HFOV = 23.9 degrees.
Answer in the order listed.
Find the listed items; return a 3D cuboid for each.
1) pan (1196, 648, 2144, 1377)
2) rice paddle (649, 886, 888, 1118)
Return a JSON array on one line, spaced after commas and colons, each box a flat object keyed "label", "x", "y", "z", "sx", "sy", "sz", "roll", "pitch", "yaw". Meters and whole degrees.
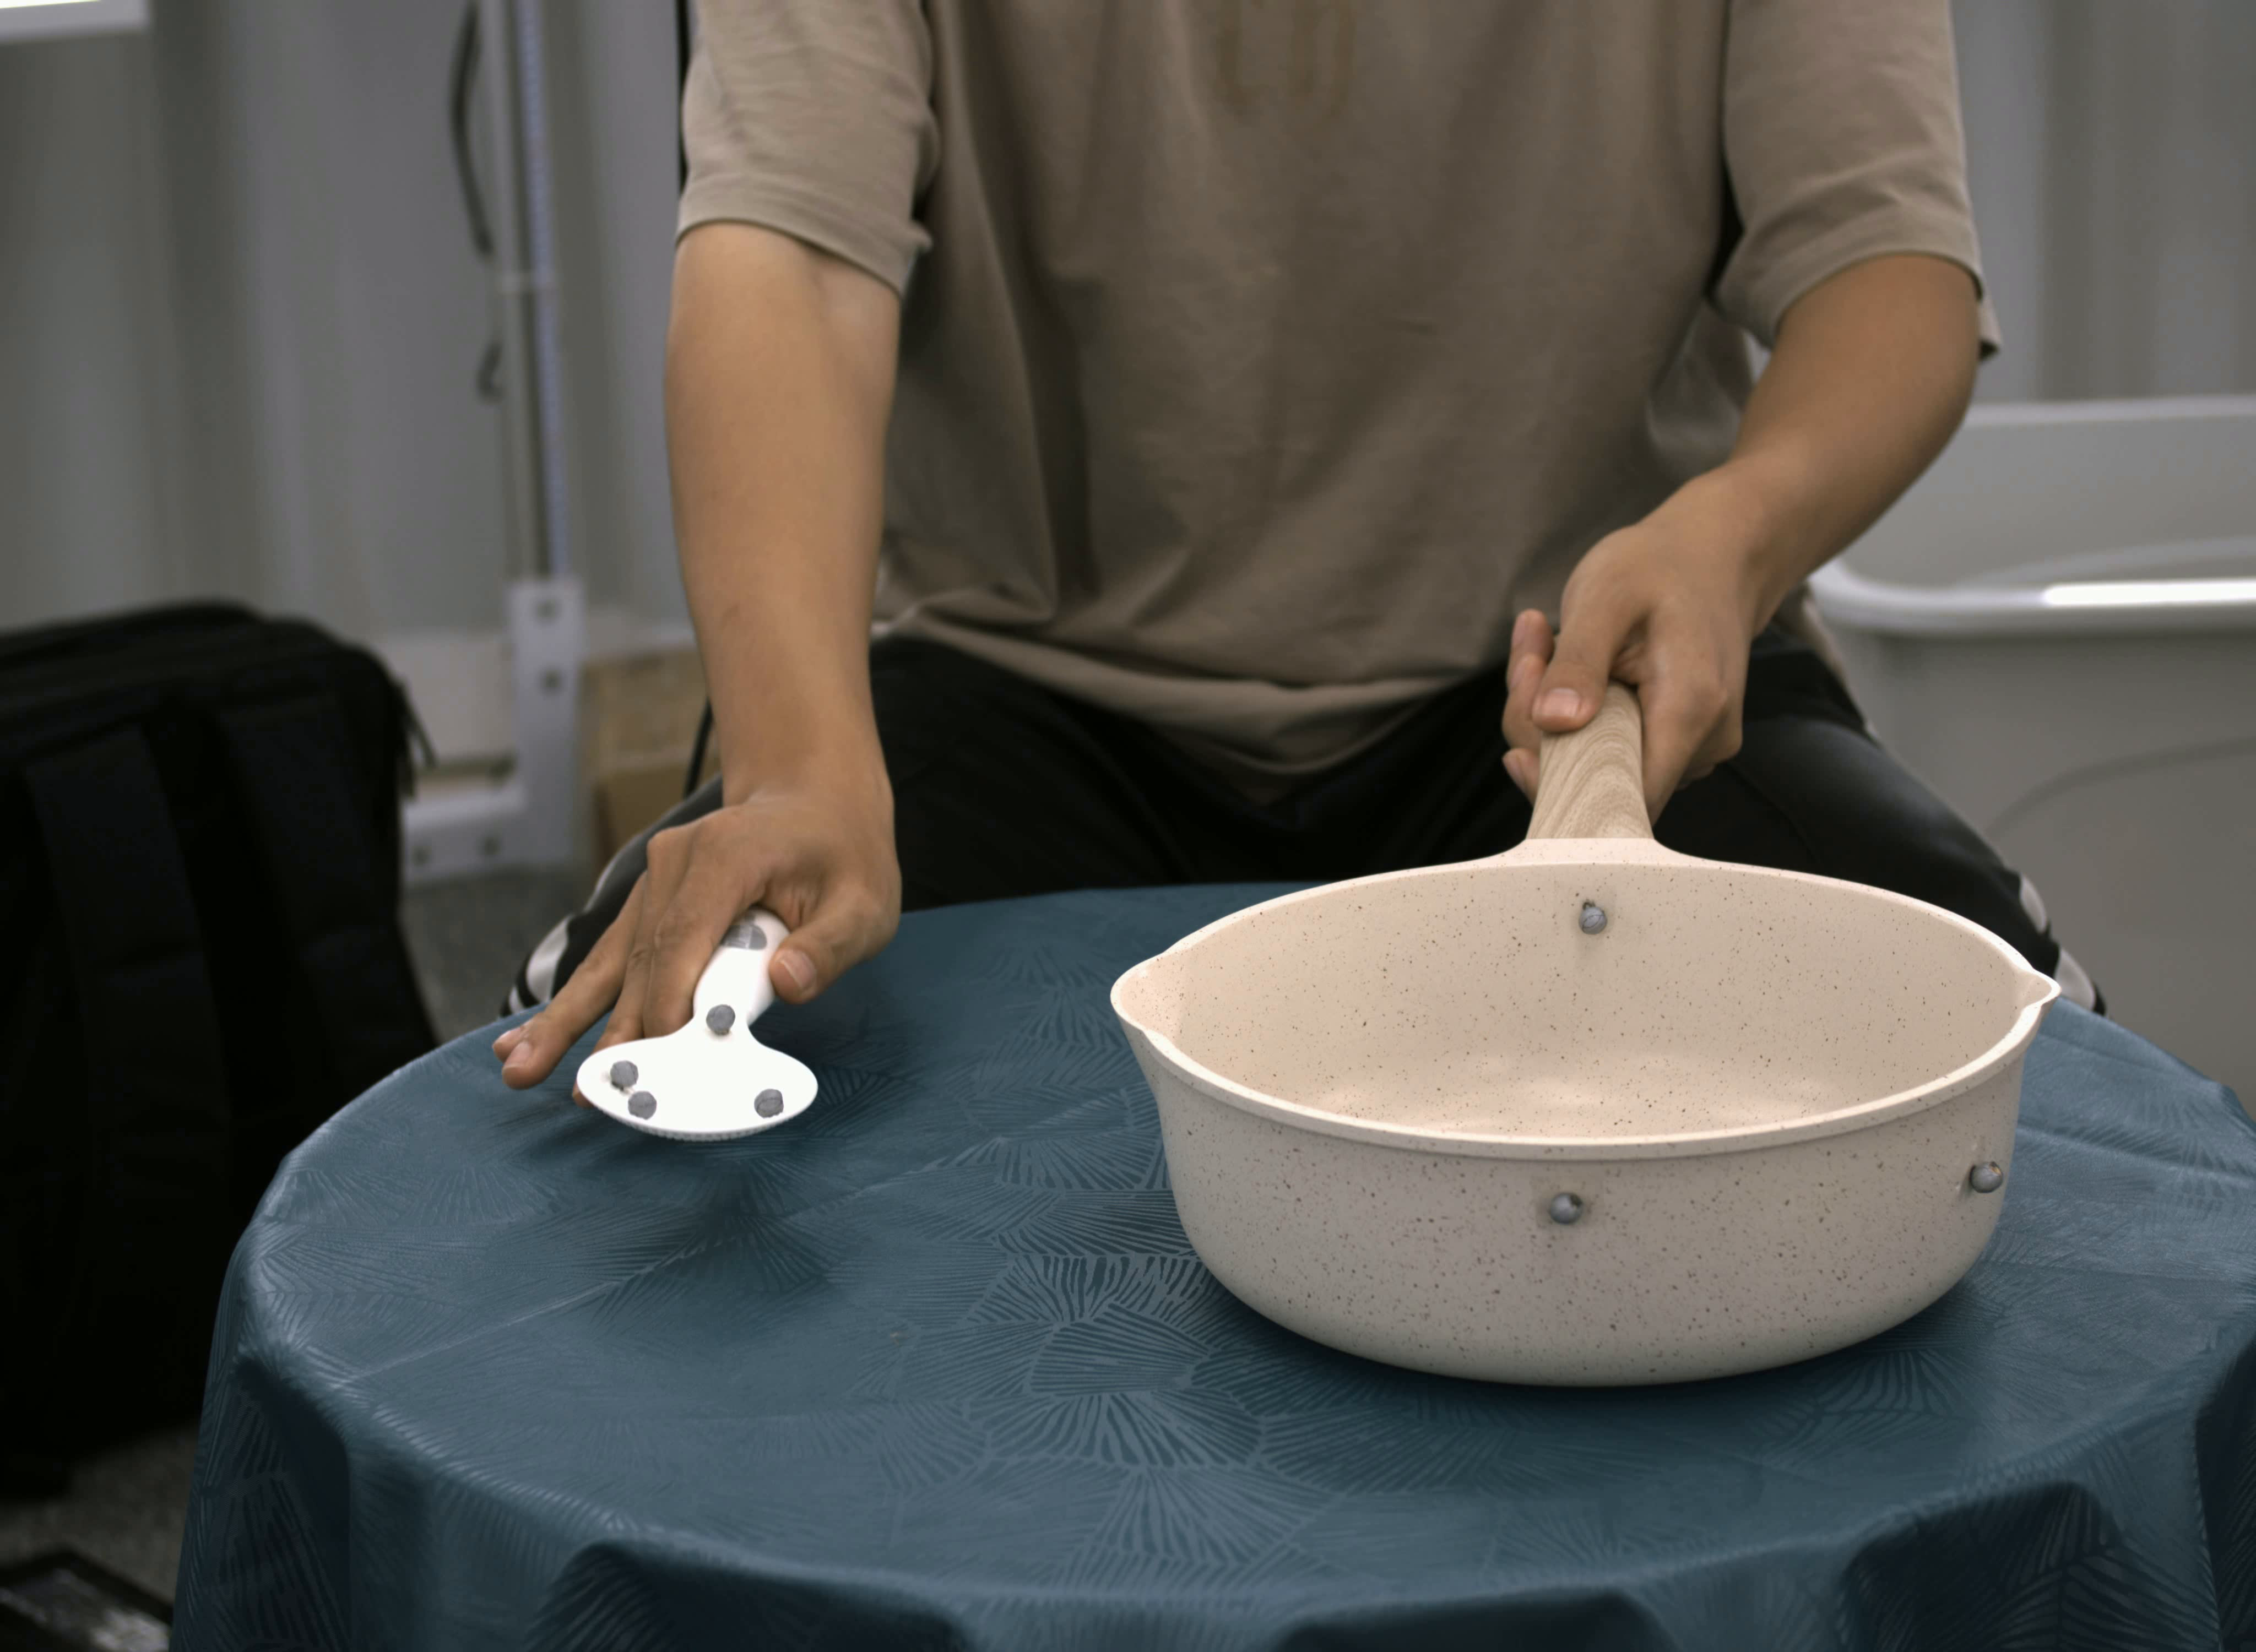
[{"label": "pan", "x": 0.159, "y": 0.050, "z": 1.557, "sx": 0.263, "sy": 0.102, "sz": 0.435, "roll": -3, "pitch": 16, "yaw": 6}, {"label": "rice paddle", "x": -0.102, "y": 0.054, "z": 1.578, "sx": 0.068, "sy": 0.029, "sz": 0.205, "roll": 4, "pitch": 12, "yaw": 0}]
